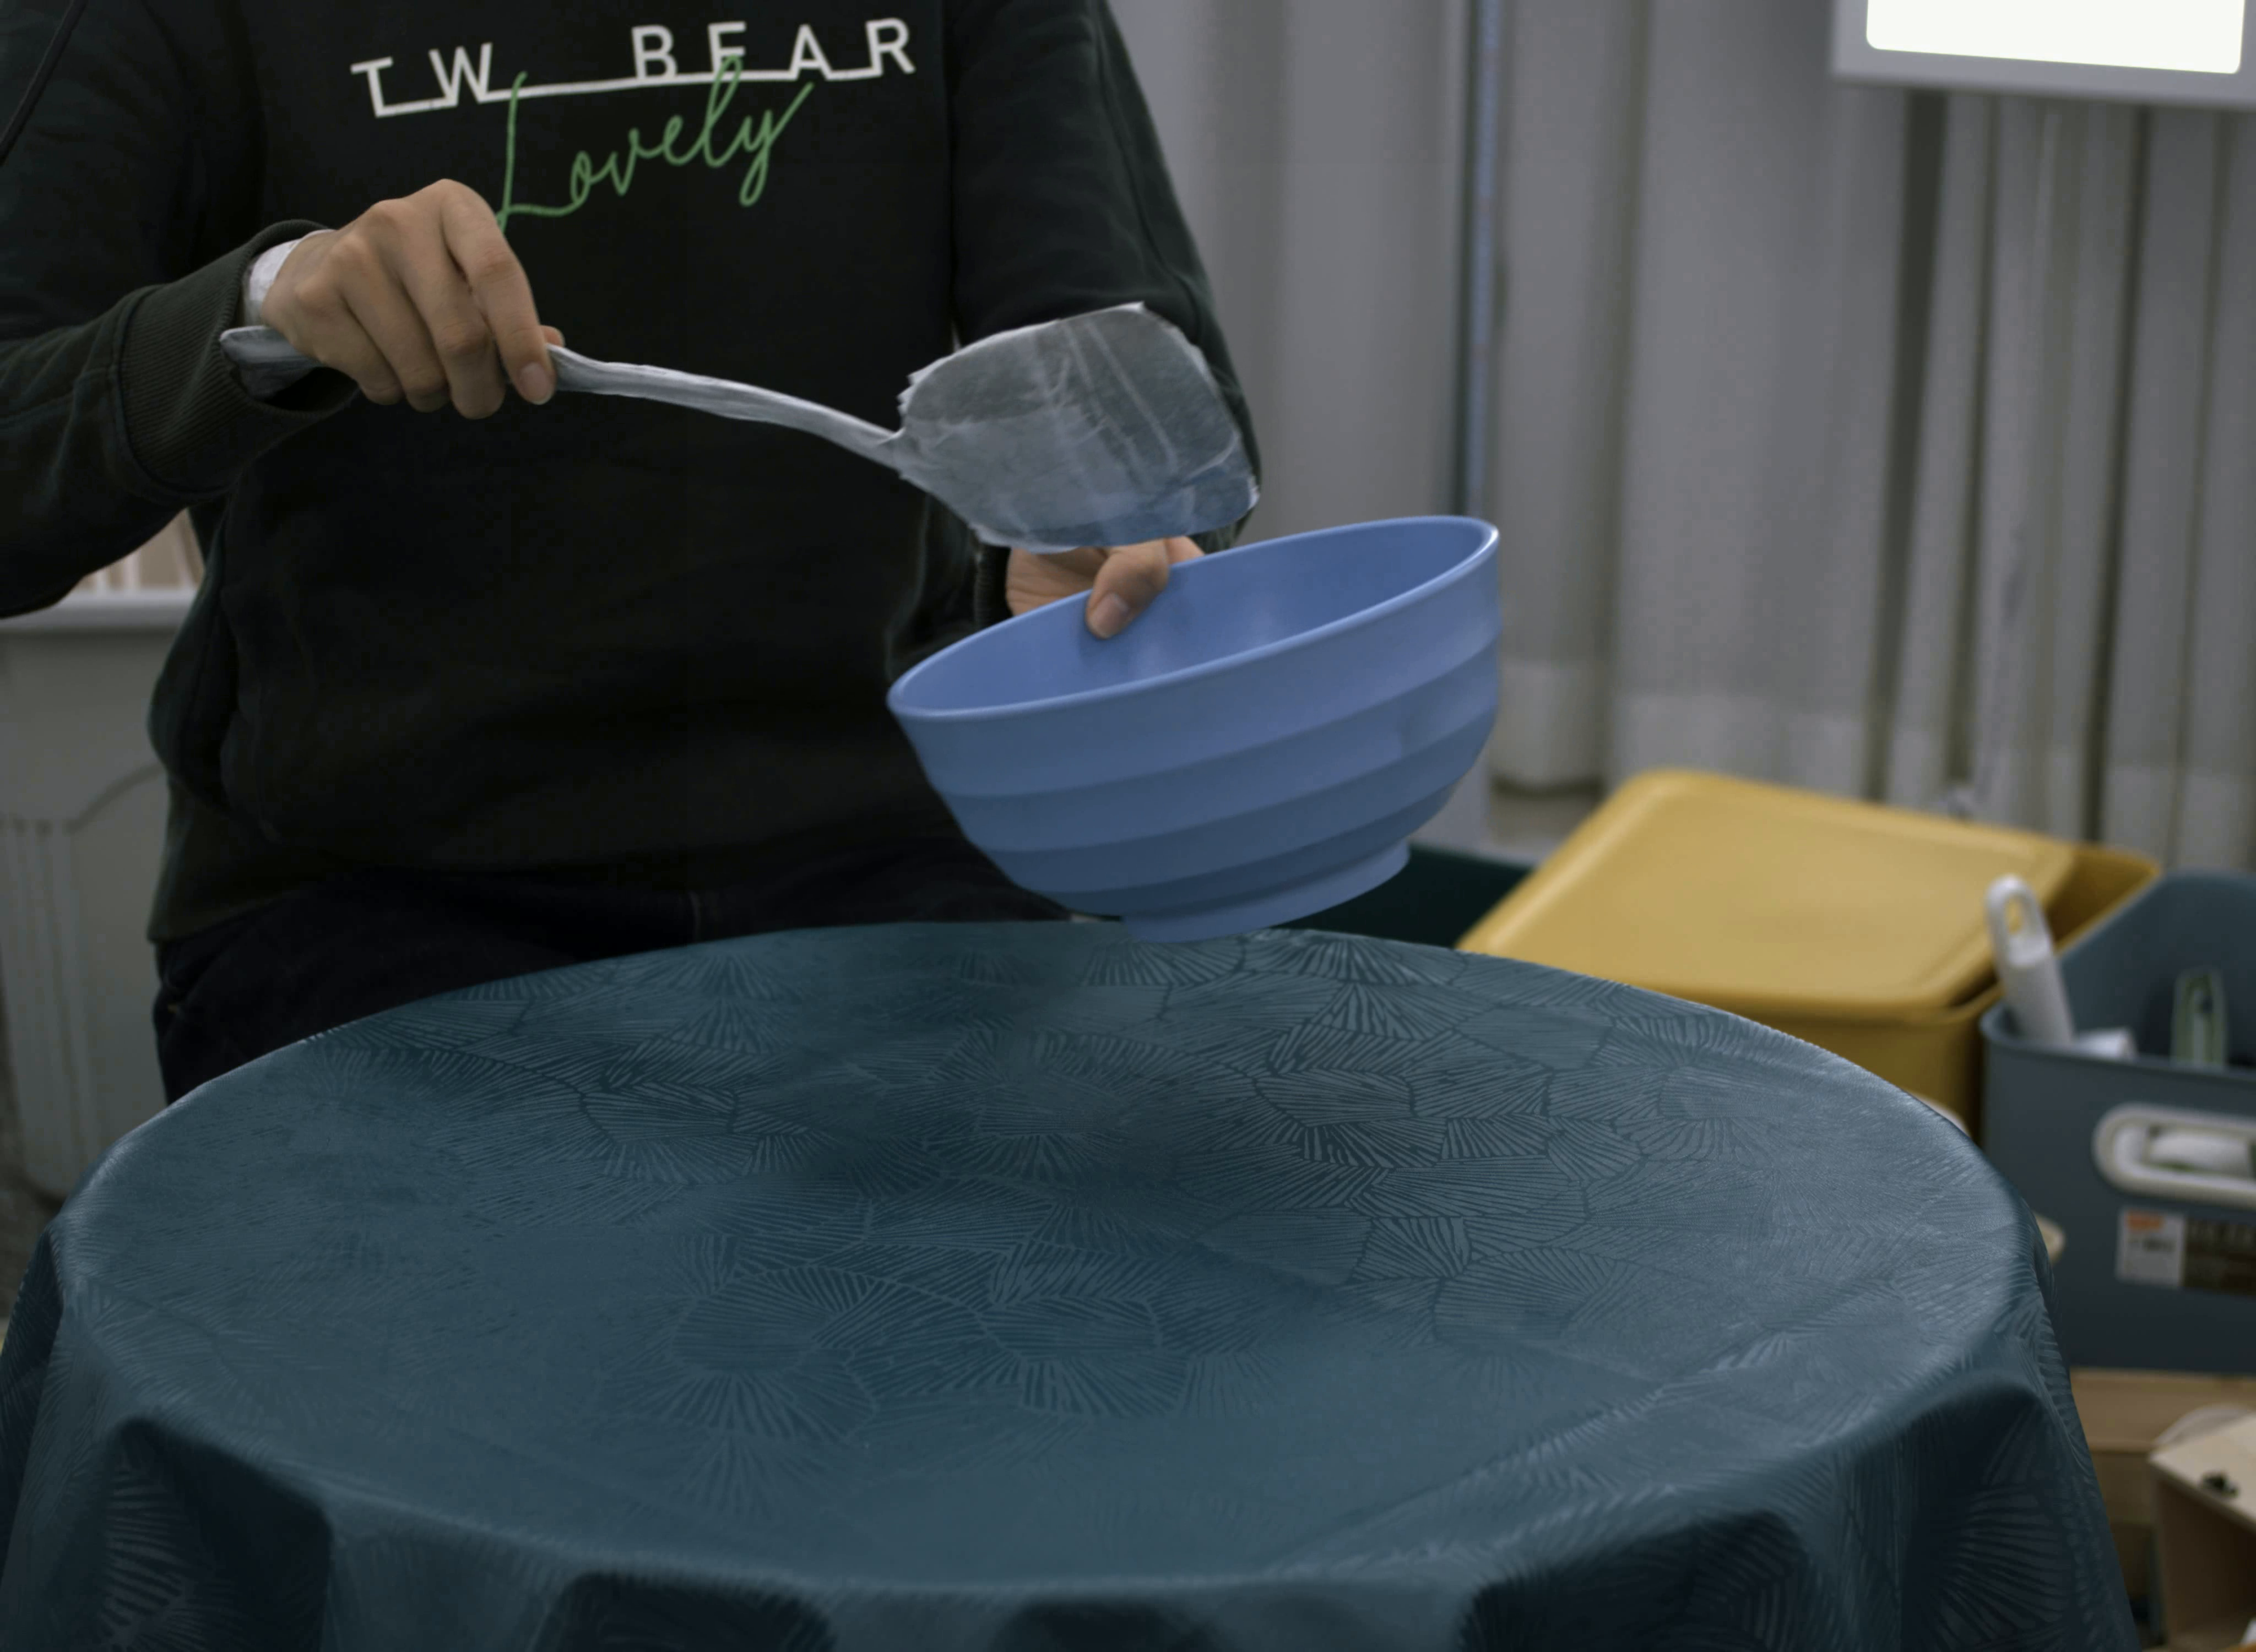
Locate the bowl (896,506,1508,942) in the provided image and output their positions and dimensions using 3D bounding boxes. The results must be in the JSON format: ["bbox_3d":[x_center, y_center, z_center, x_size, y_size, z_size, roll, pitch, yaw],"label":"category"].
[{"bbox_3d":[0.034,-0.024,1.641,0.196,0.096,0.195,-16,13,4],"label":"bowl"}]

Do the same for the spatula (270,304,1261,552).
[{"bbox_3d":[-0.126,-0.134,1.634,0.360,0.100,0.044,11,59,32],"label":"spatula"}]
